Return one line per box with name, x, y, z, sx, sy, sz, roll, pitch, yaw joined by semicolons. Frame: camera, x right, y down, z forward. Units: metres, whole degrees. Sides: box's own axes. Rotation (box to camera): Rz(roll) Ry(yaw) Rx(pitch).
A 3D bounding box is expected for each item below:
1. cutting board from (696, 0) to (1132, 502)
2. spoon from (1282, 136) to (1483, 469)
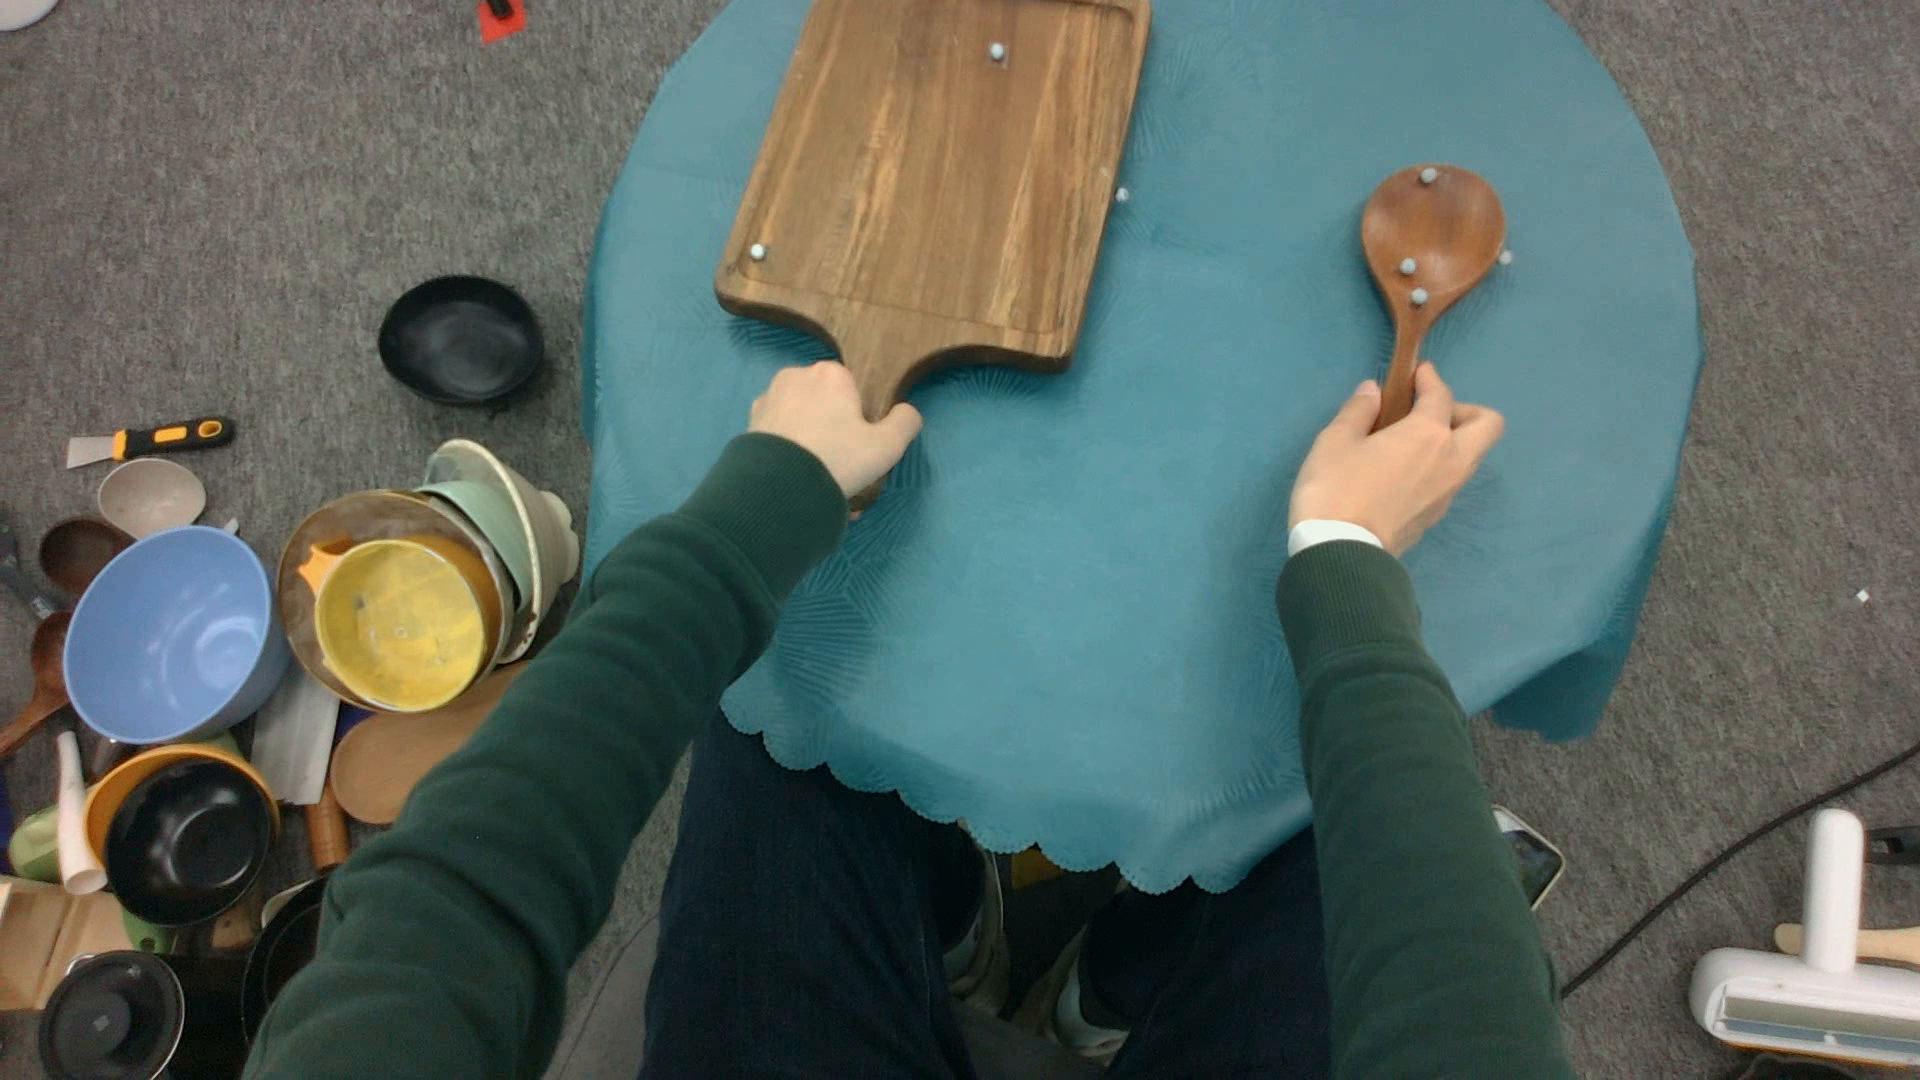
cutting board;-0.030;-0.182;0.750;0.201;0.023;0.353;12;68;5
spoon;0.217;-0.129;0.731;0.075;0.017;0.216;21;70;16
